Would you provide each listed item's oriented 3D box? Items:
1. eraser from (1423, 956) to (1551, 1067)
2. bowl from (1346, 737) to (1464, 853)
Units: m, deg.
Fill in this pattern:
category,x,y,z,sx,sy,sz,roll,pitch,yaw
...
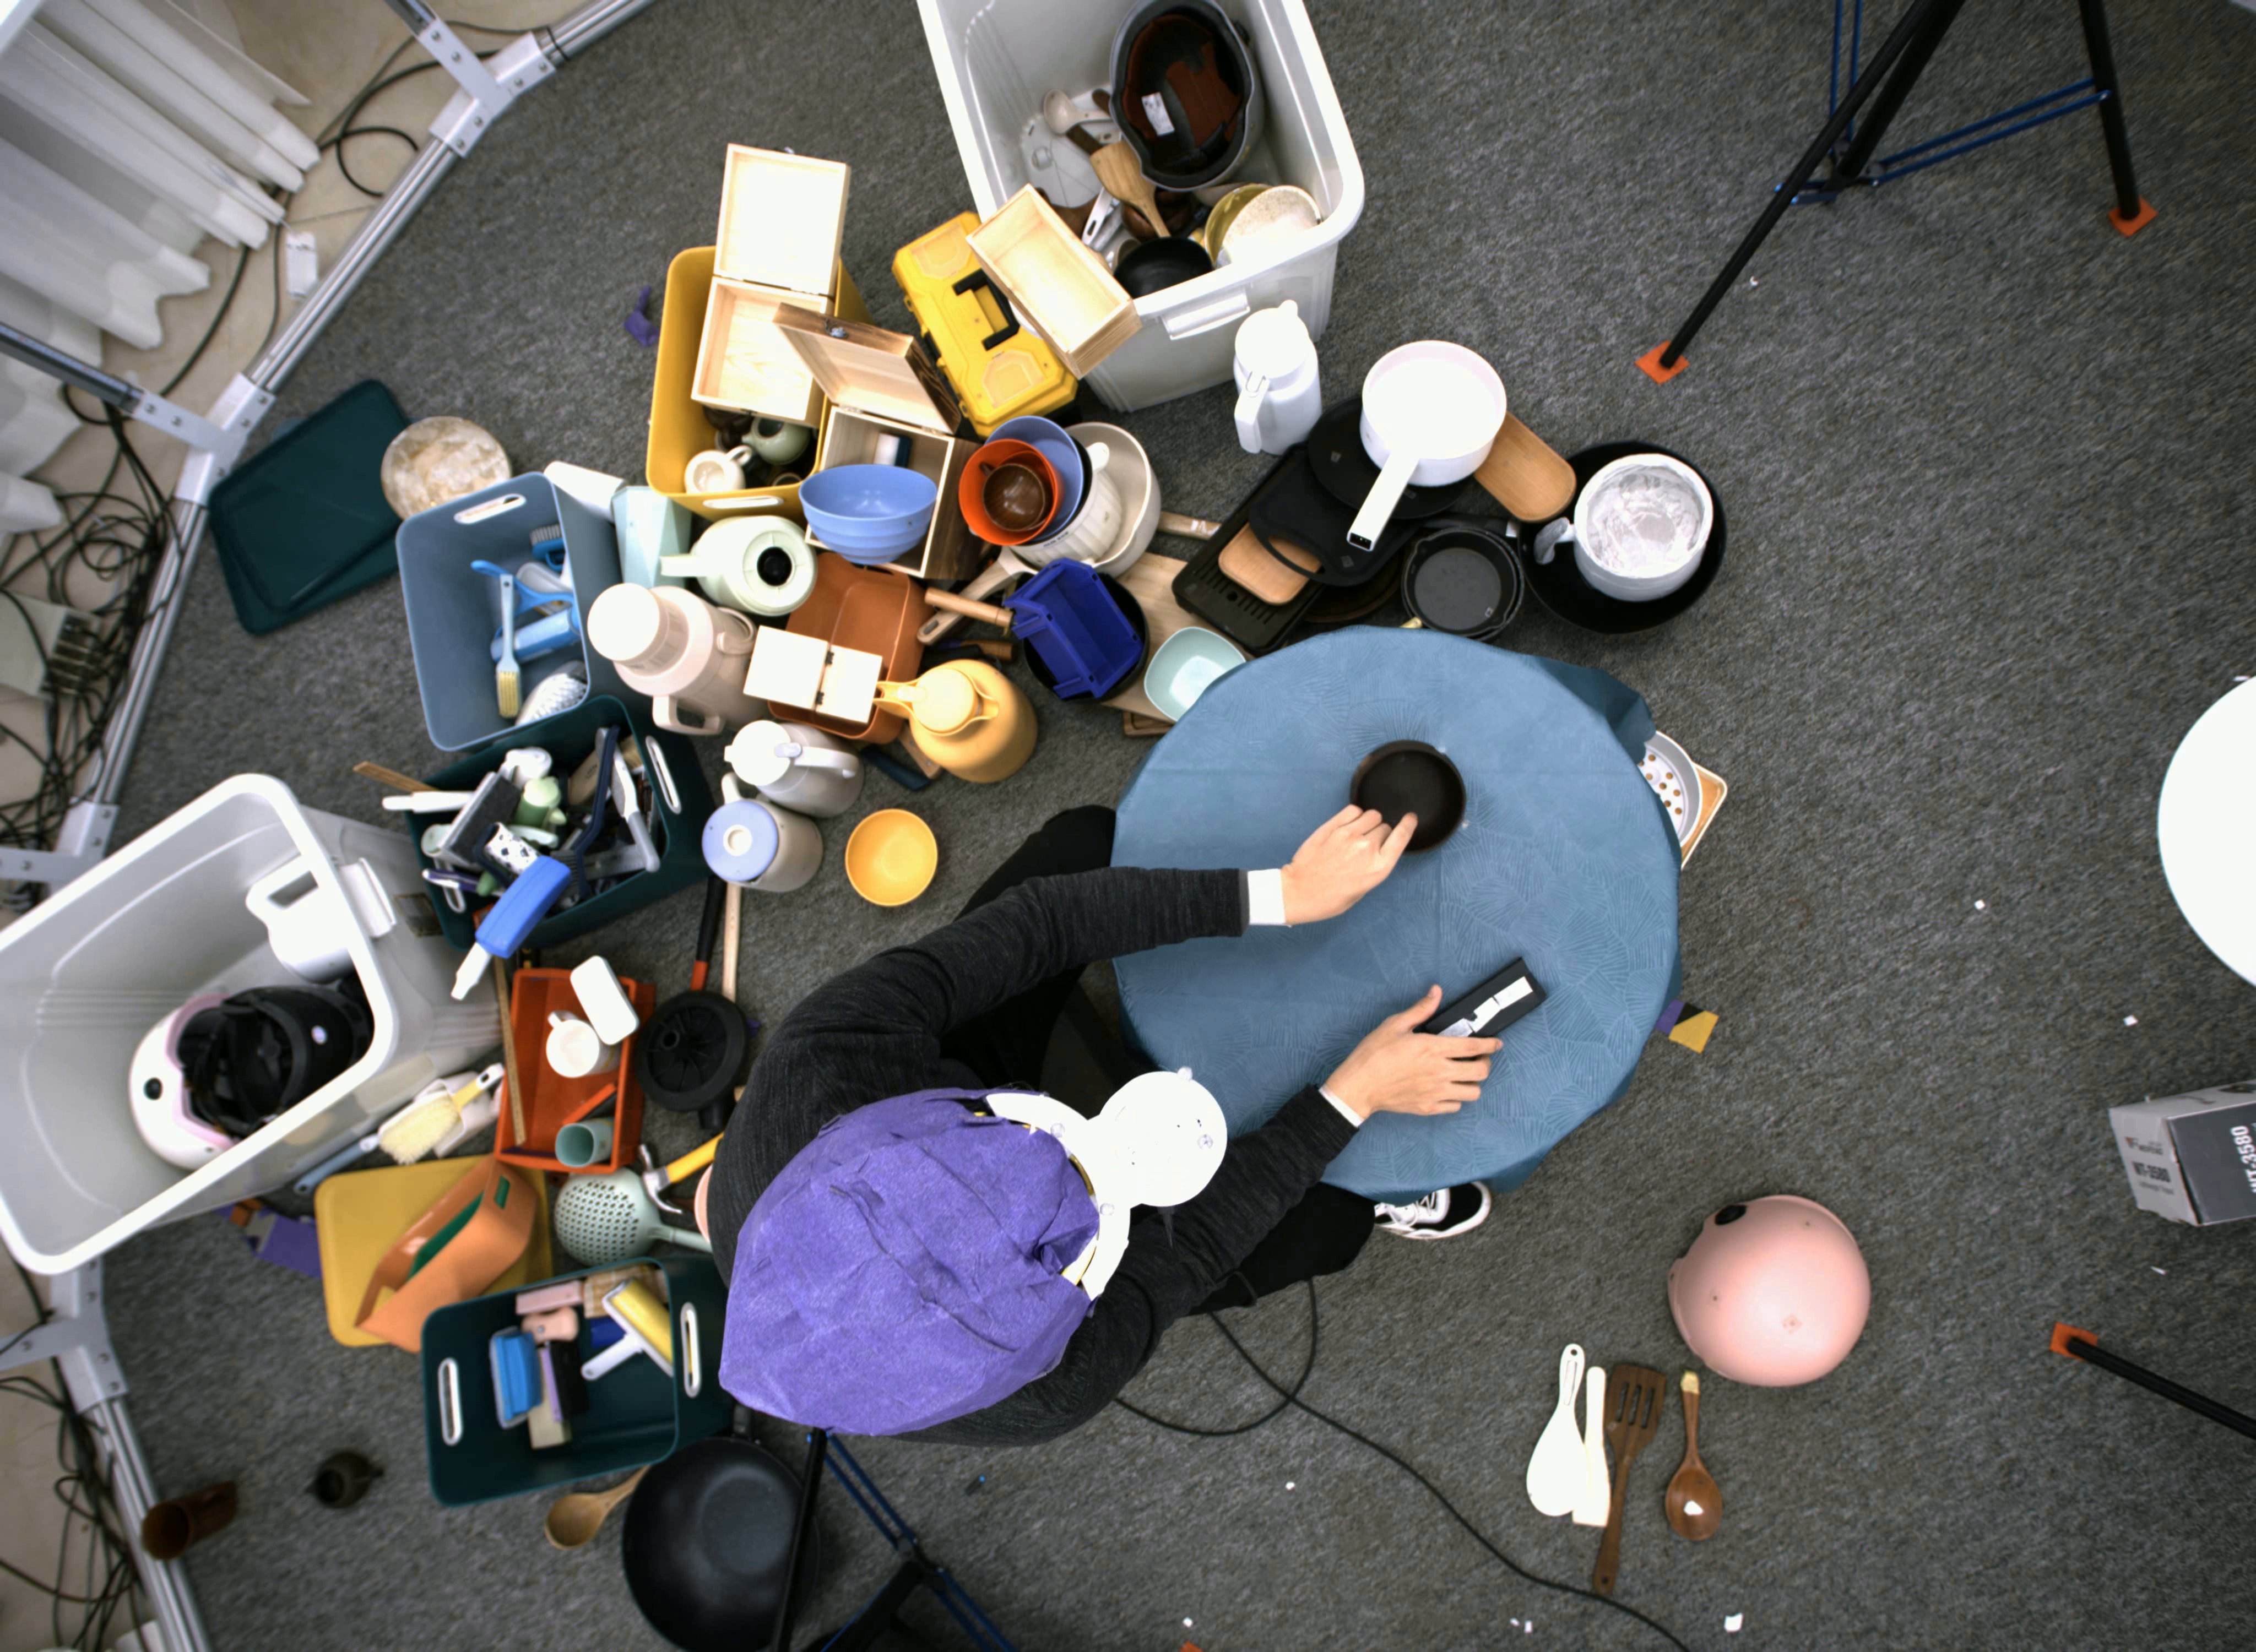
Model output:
category,x,y,z,sx,sy,sz,roll,pitch,yaw
eraser,0.369,0.189,1.421,0.126,0.030,0.053,-37,78,7
bowl,0.283,-0.037,1.421,0.118,0.069,0.119,1,107,4
